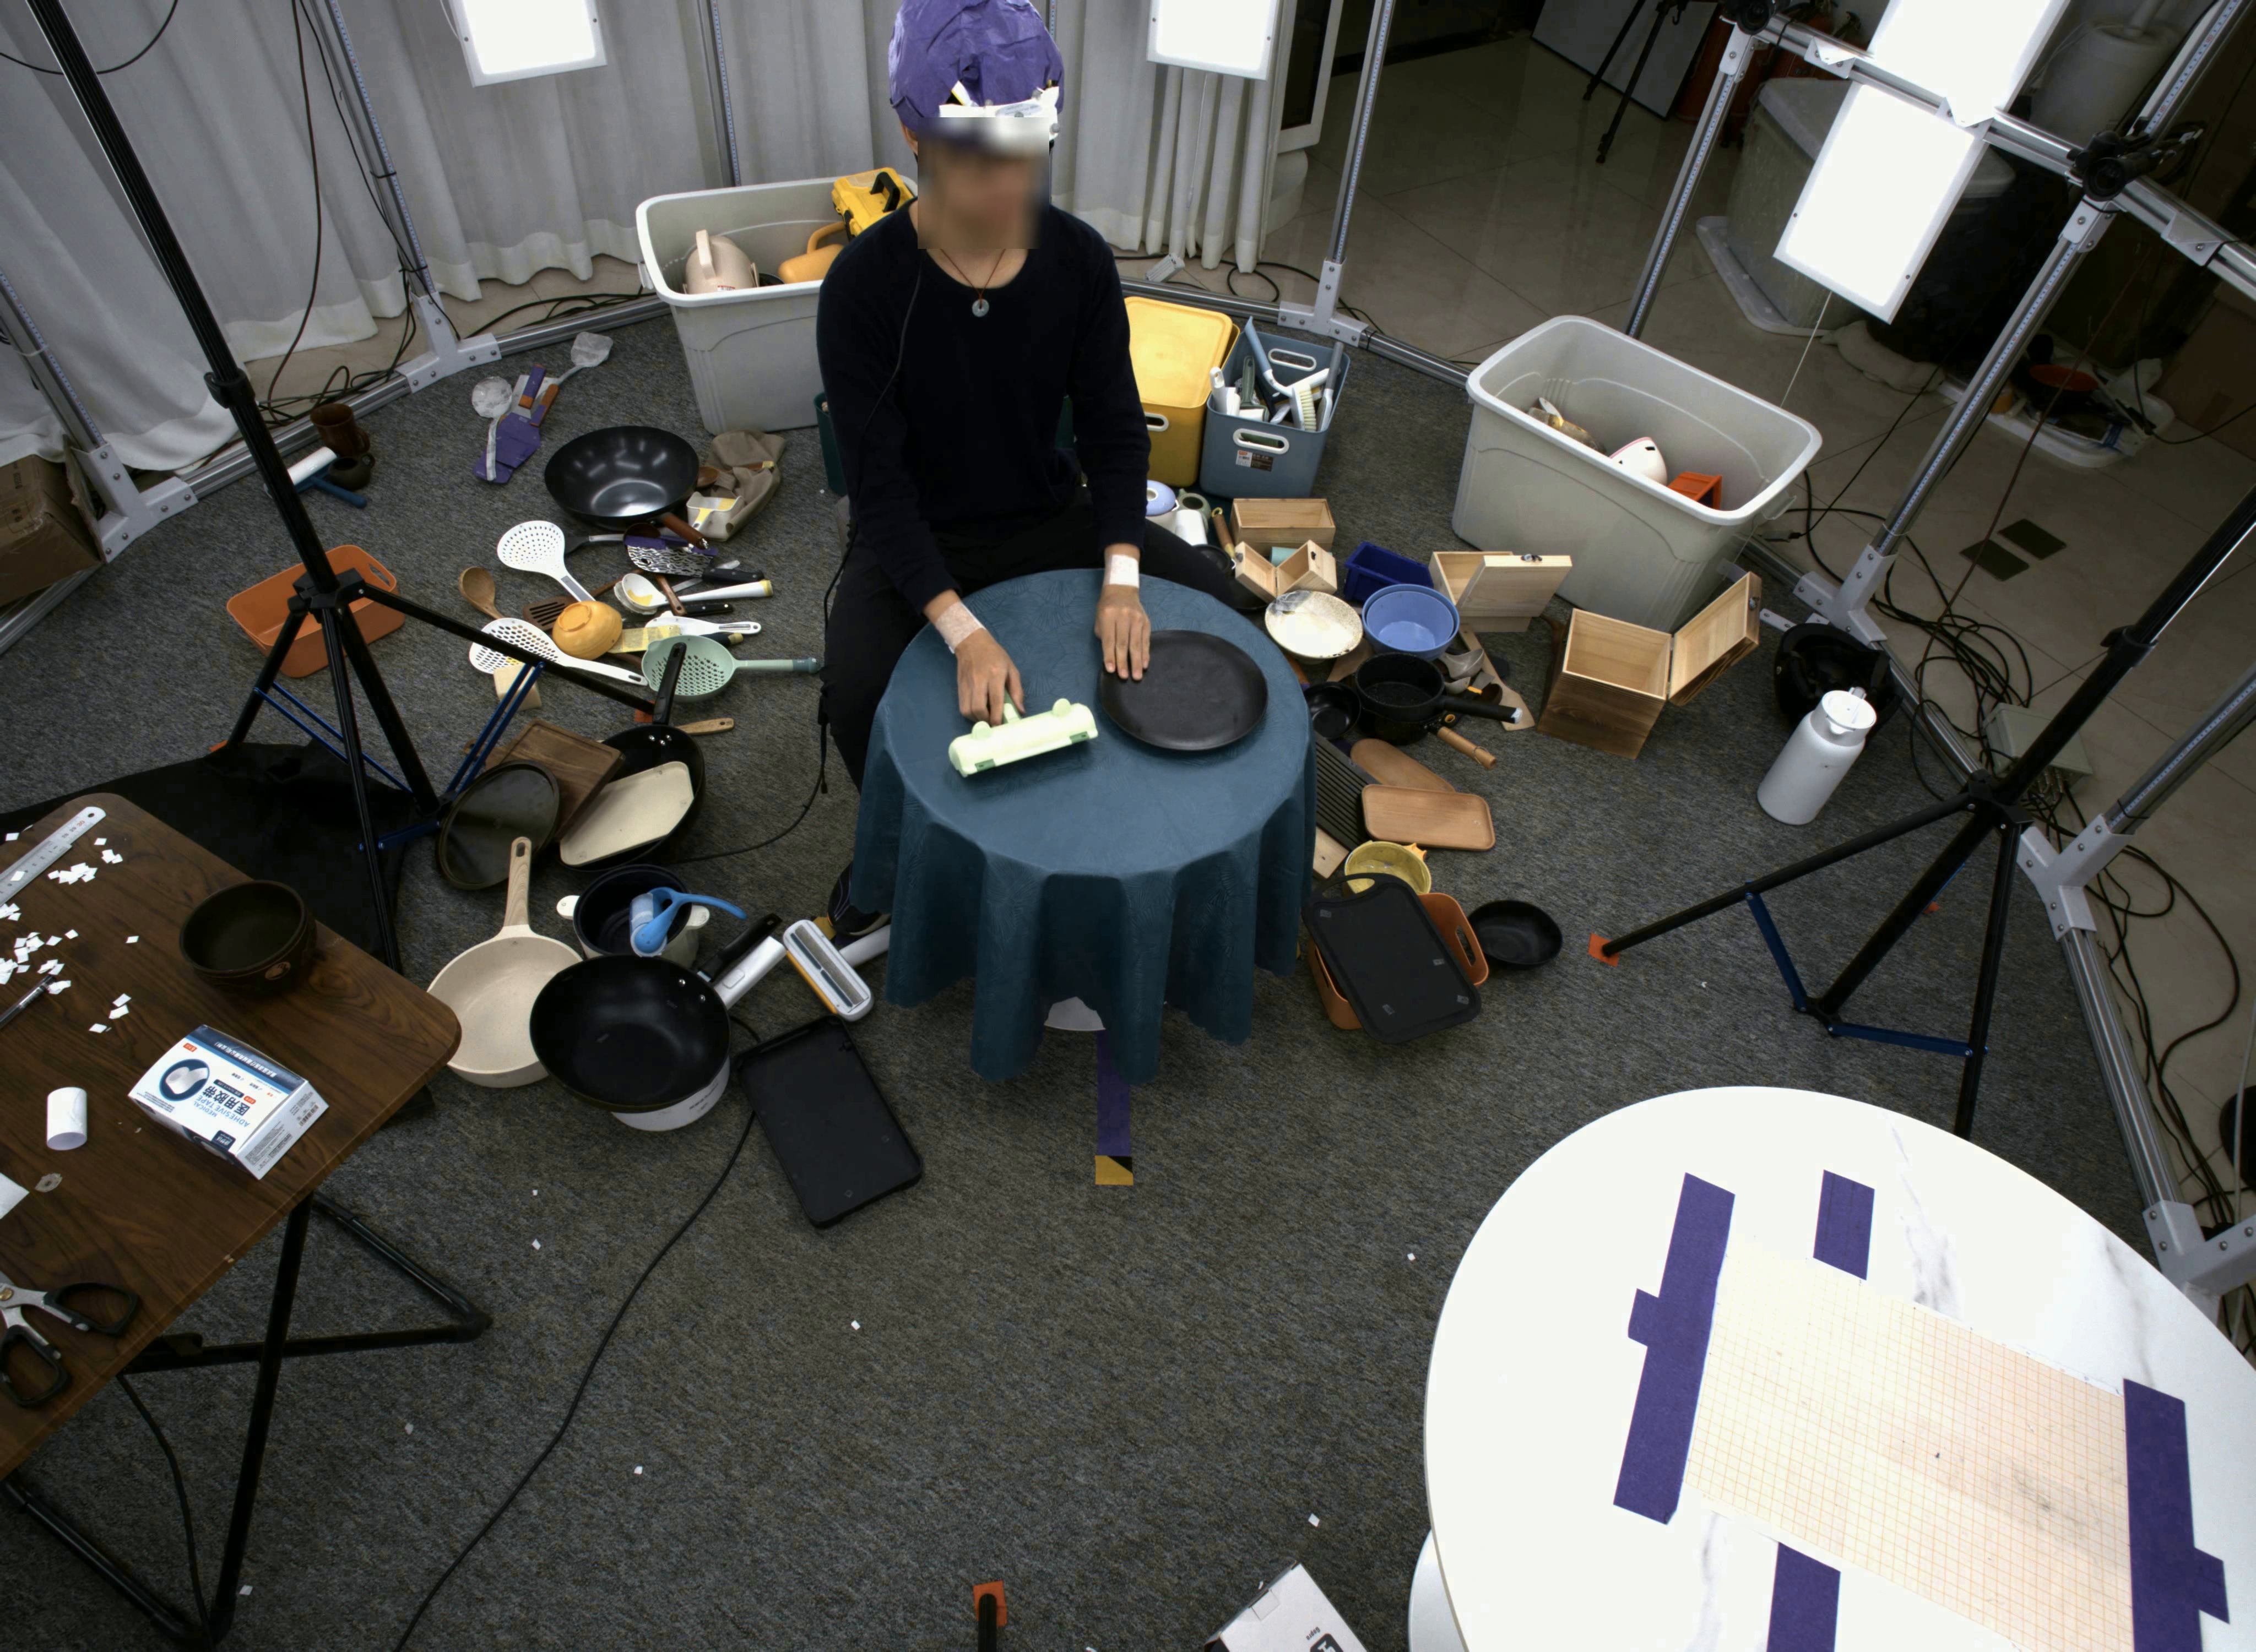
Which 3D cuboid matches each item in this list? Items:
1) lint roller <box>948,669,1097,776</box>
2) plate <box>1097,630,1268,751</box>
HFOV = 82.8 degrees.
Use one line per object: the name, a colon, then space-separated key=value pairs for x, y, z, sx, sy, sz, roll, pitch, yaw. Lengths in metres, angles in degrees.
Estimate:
lint roller: x=-0.165 y=-0.164 z=1.744 sx=0.199 sy=0.080 sz=0.187 roll=-18 pitch=59 yaw=-20
plate: x=0.077 y=-0.190 z=1.823 sx=0.244 sy=0.023 sz=0.250 roll=2 pitch=49 yaw=-2
